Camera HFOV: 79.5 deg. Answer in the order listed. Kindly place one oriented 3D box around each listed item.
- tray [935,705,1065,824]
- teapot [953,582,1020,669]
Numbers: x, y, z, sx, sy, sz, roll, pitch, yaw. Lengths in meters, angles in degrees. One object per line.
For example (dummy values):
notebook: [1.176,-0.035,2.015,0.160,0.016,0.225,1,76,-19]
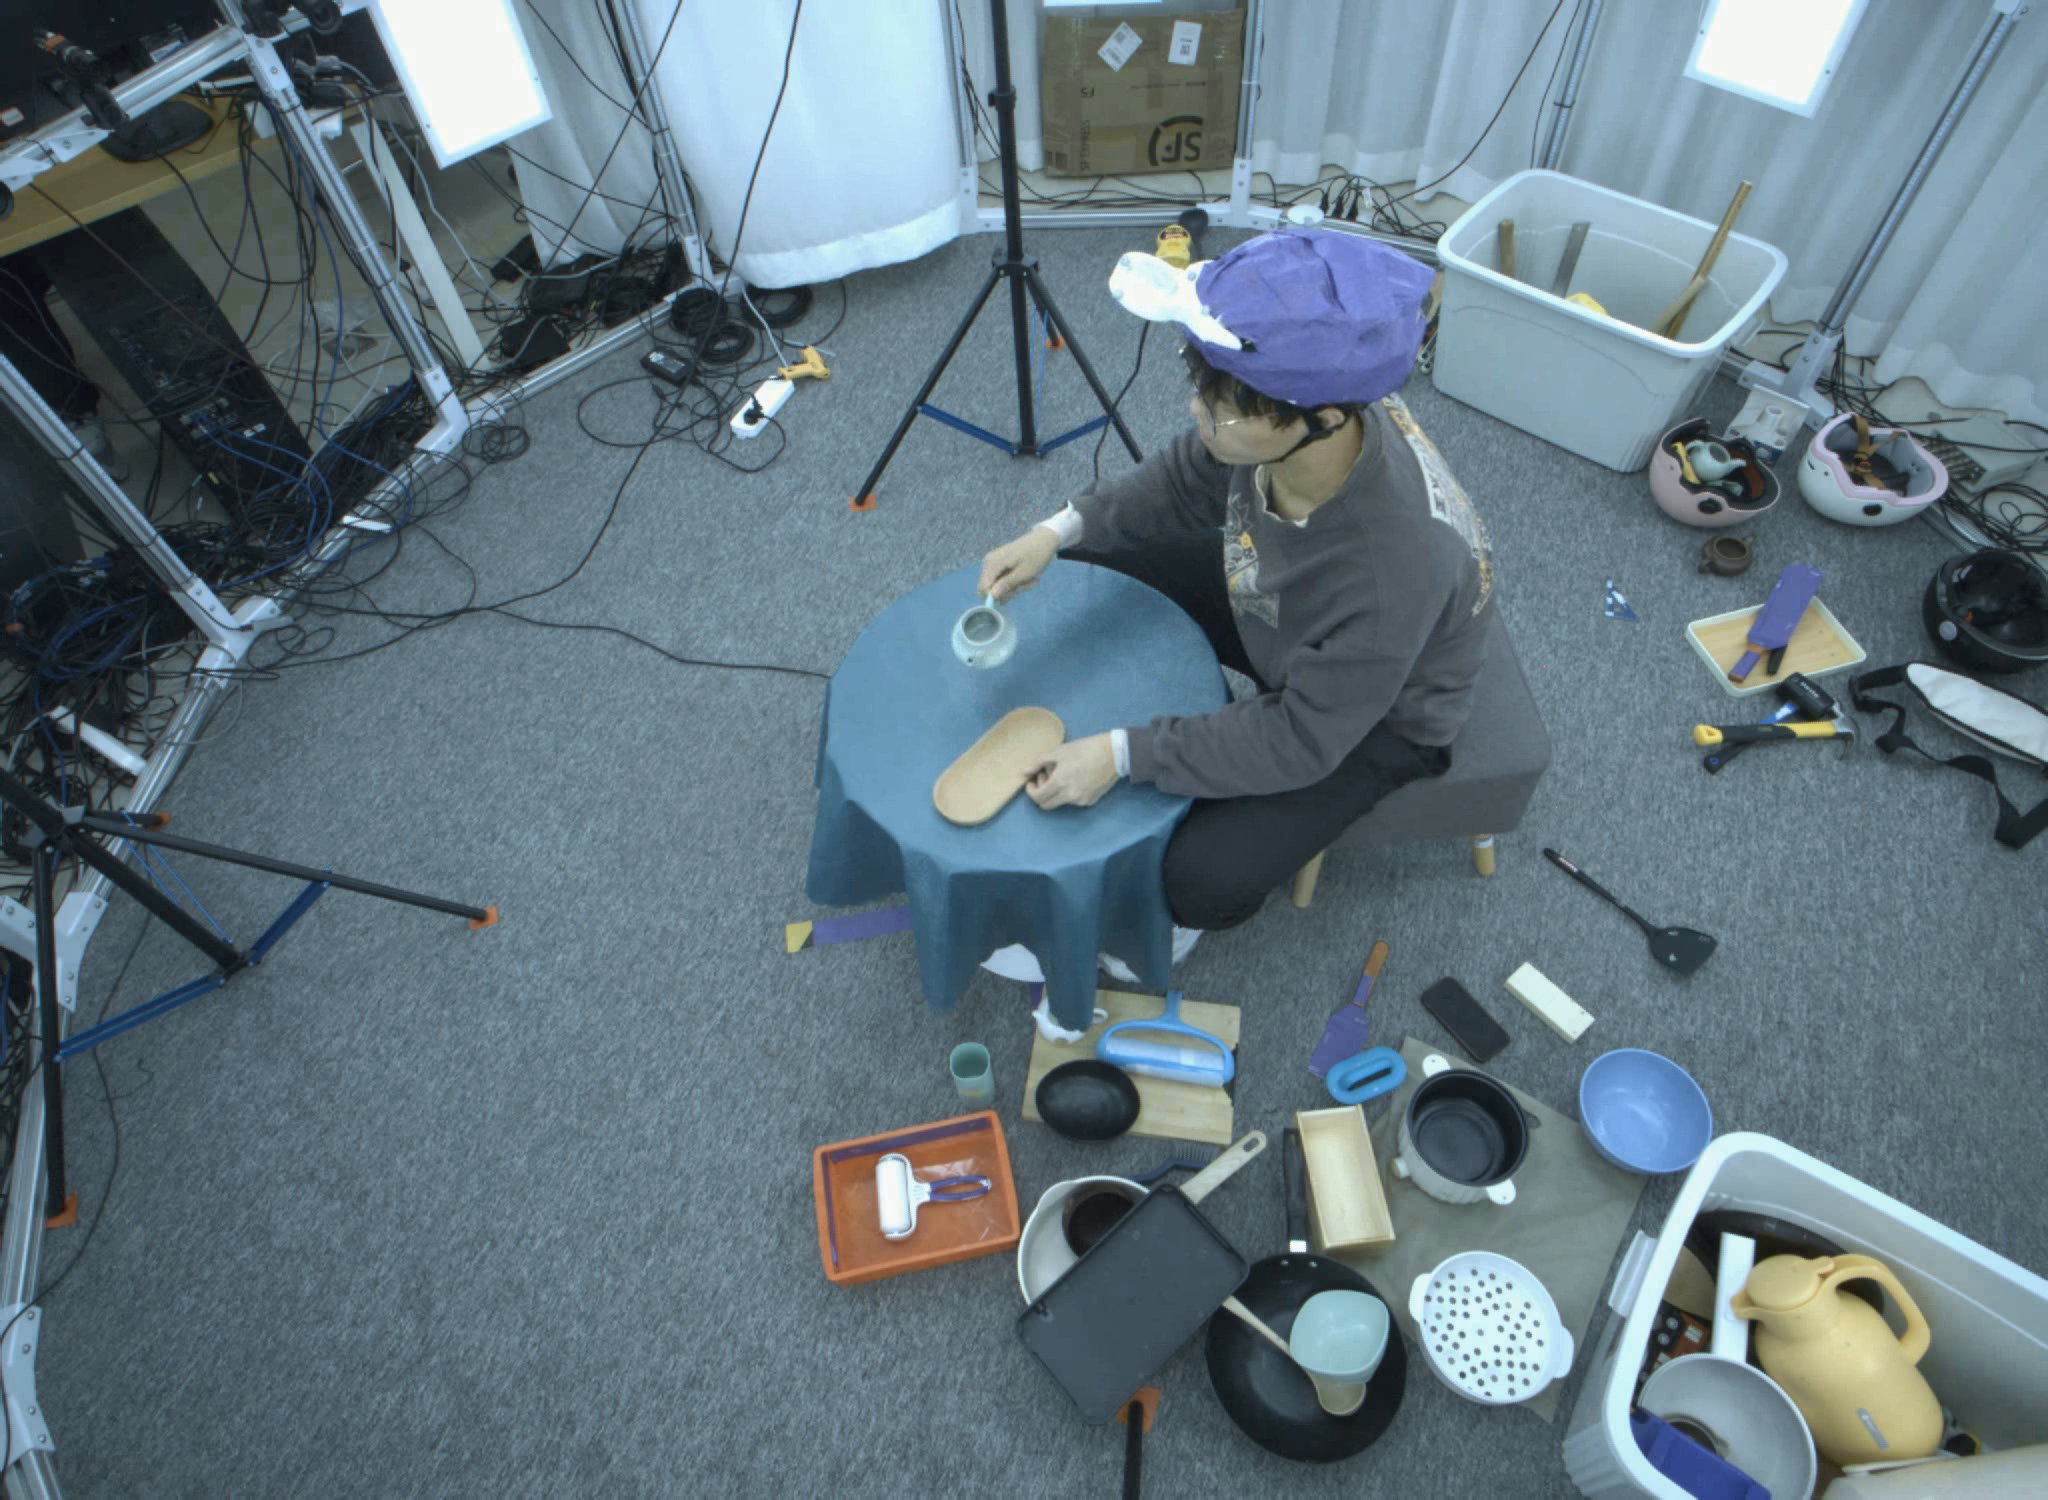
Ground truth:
tray: [-0.033,0.020,1.761,0.100,0.020,0.232,34,61,23]
teapot: [-0.055,-0.169,1.738,0.095,0.062,0.136,8,72,10]
